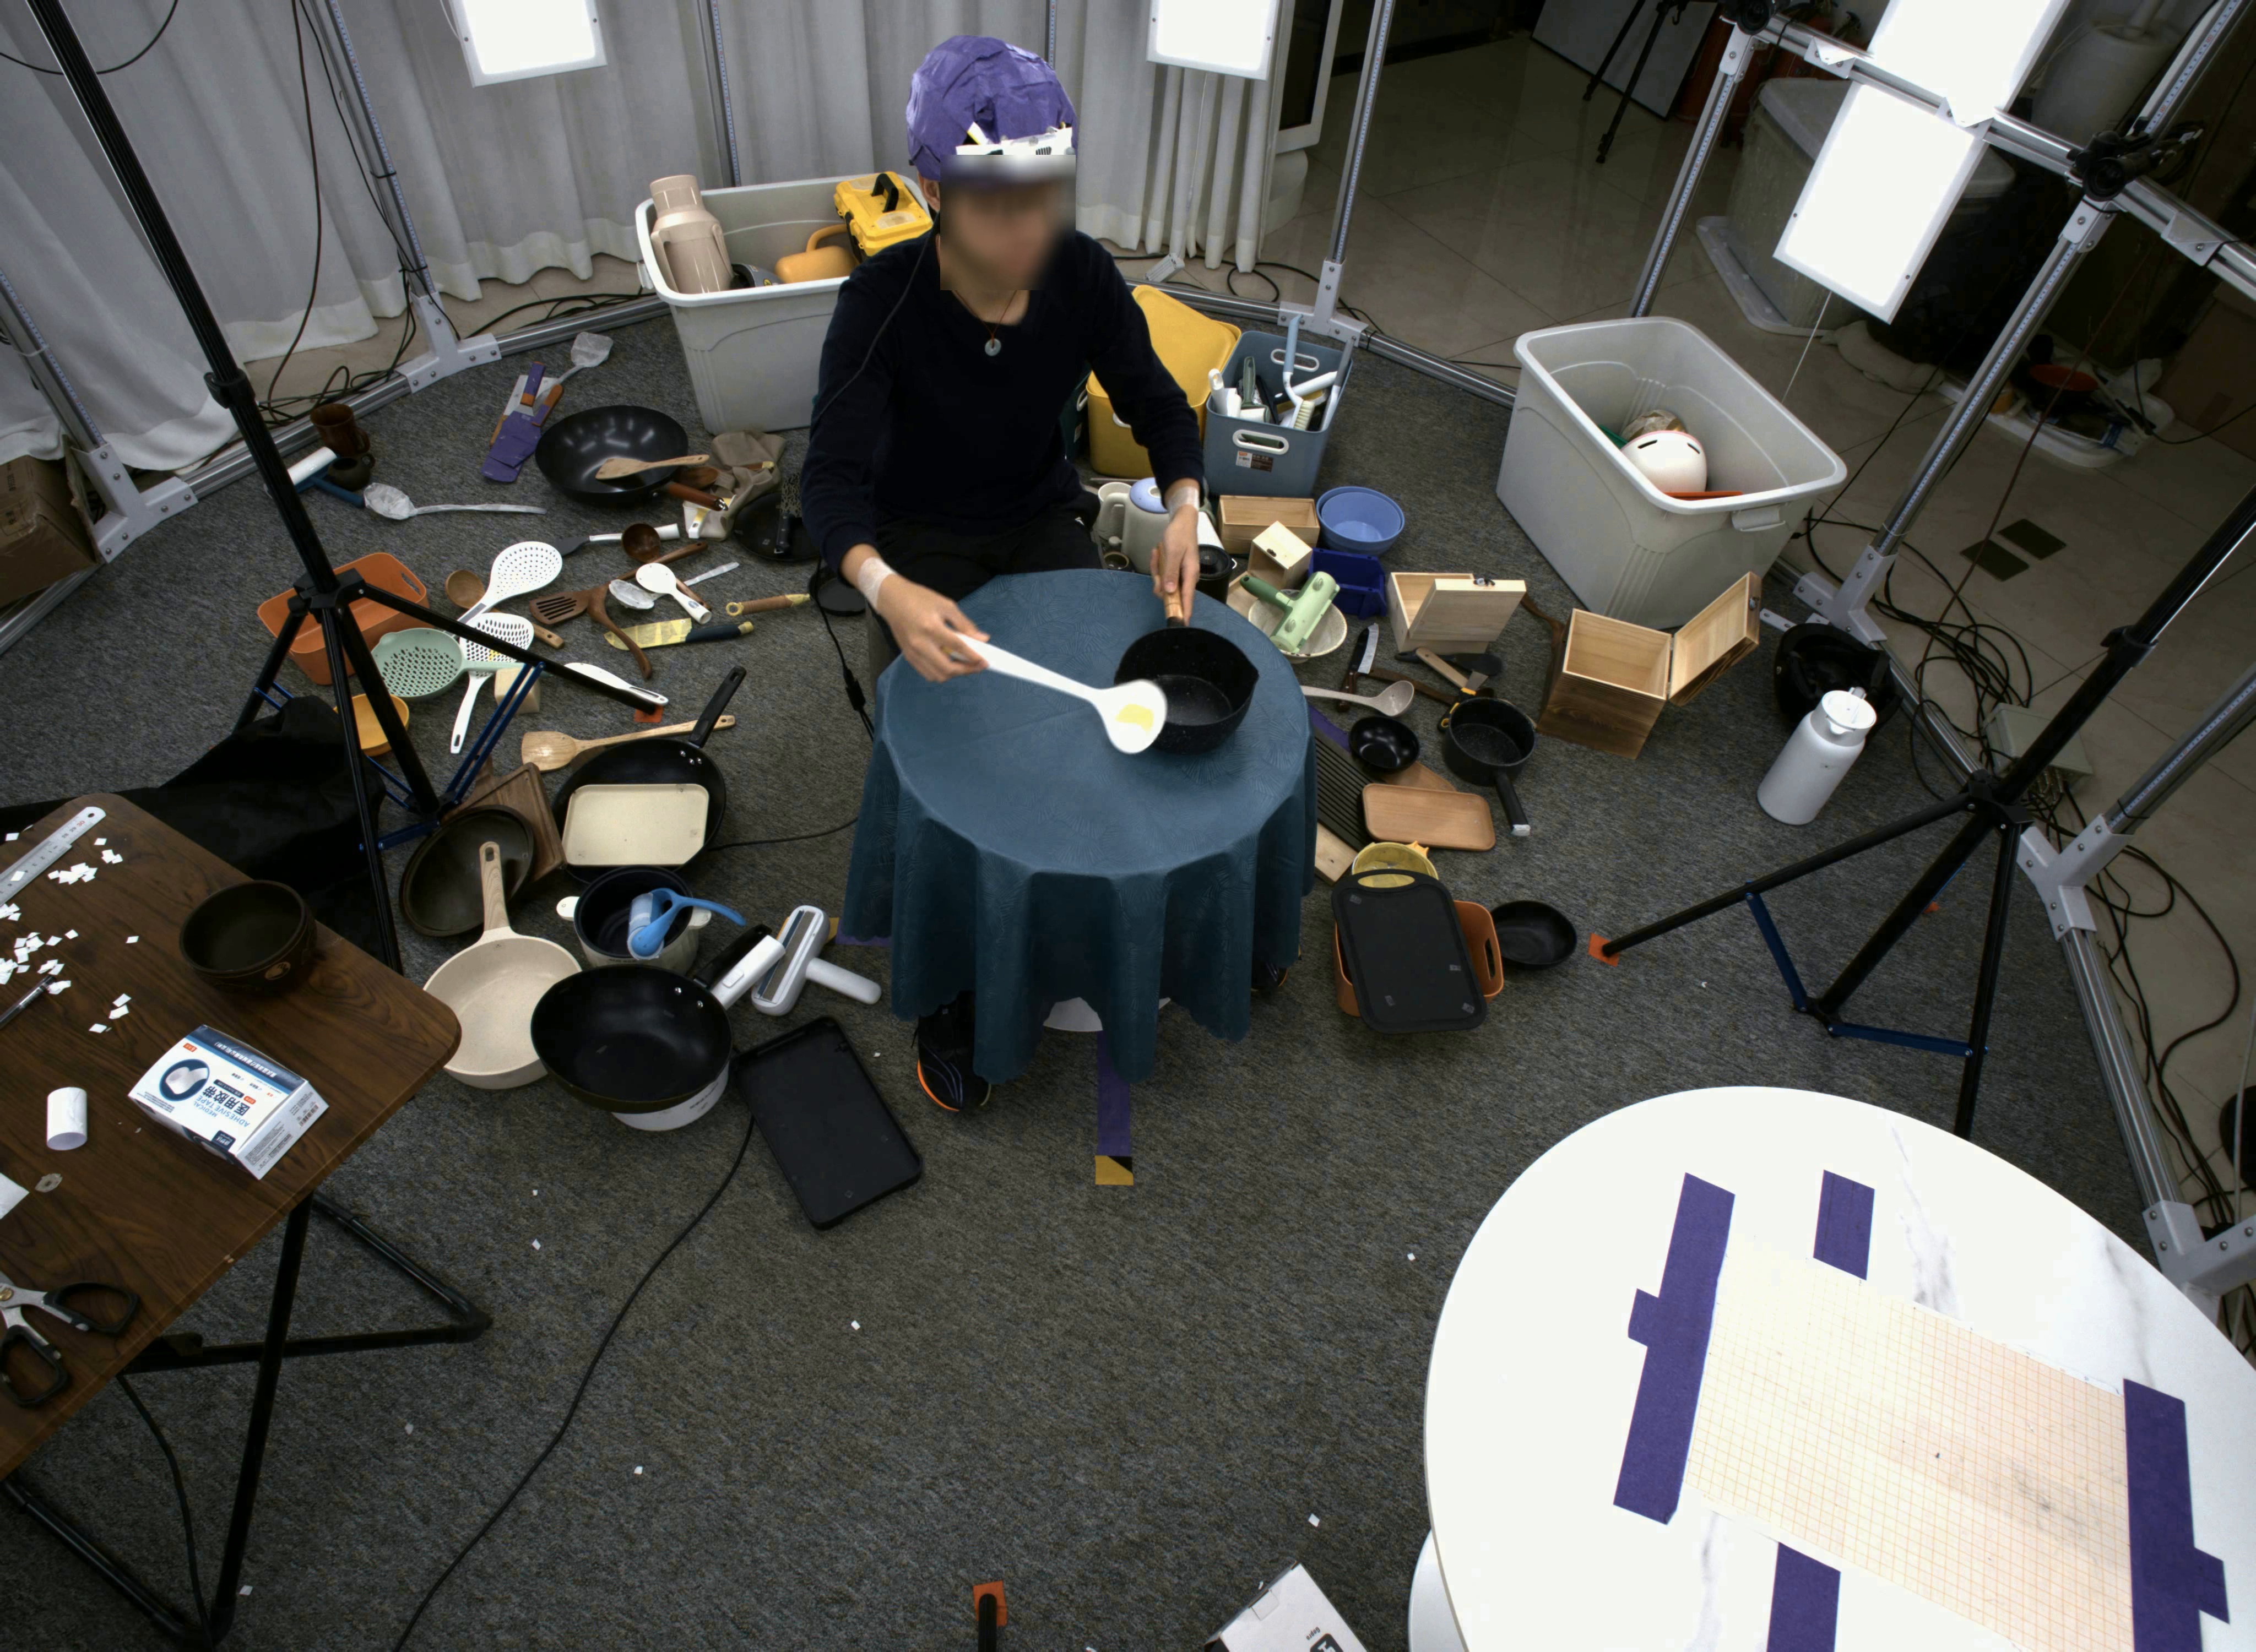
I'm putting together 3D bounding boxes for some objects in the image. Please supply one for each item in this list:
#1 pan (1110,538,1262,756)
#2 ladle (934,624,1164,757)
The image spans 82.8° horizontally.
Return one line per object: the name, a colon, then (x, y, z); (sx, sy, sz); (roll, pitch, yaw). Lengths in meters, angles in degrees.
pan: (0.069, -0.252, 1.812); (0.207, 0.106, 0.351); (-4, 54, -6)
ladle: (-0.096, -0.173, 1.569); (0.291, 0.089, 0.071); (21, 17, -11)
